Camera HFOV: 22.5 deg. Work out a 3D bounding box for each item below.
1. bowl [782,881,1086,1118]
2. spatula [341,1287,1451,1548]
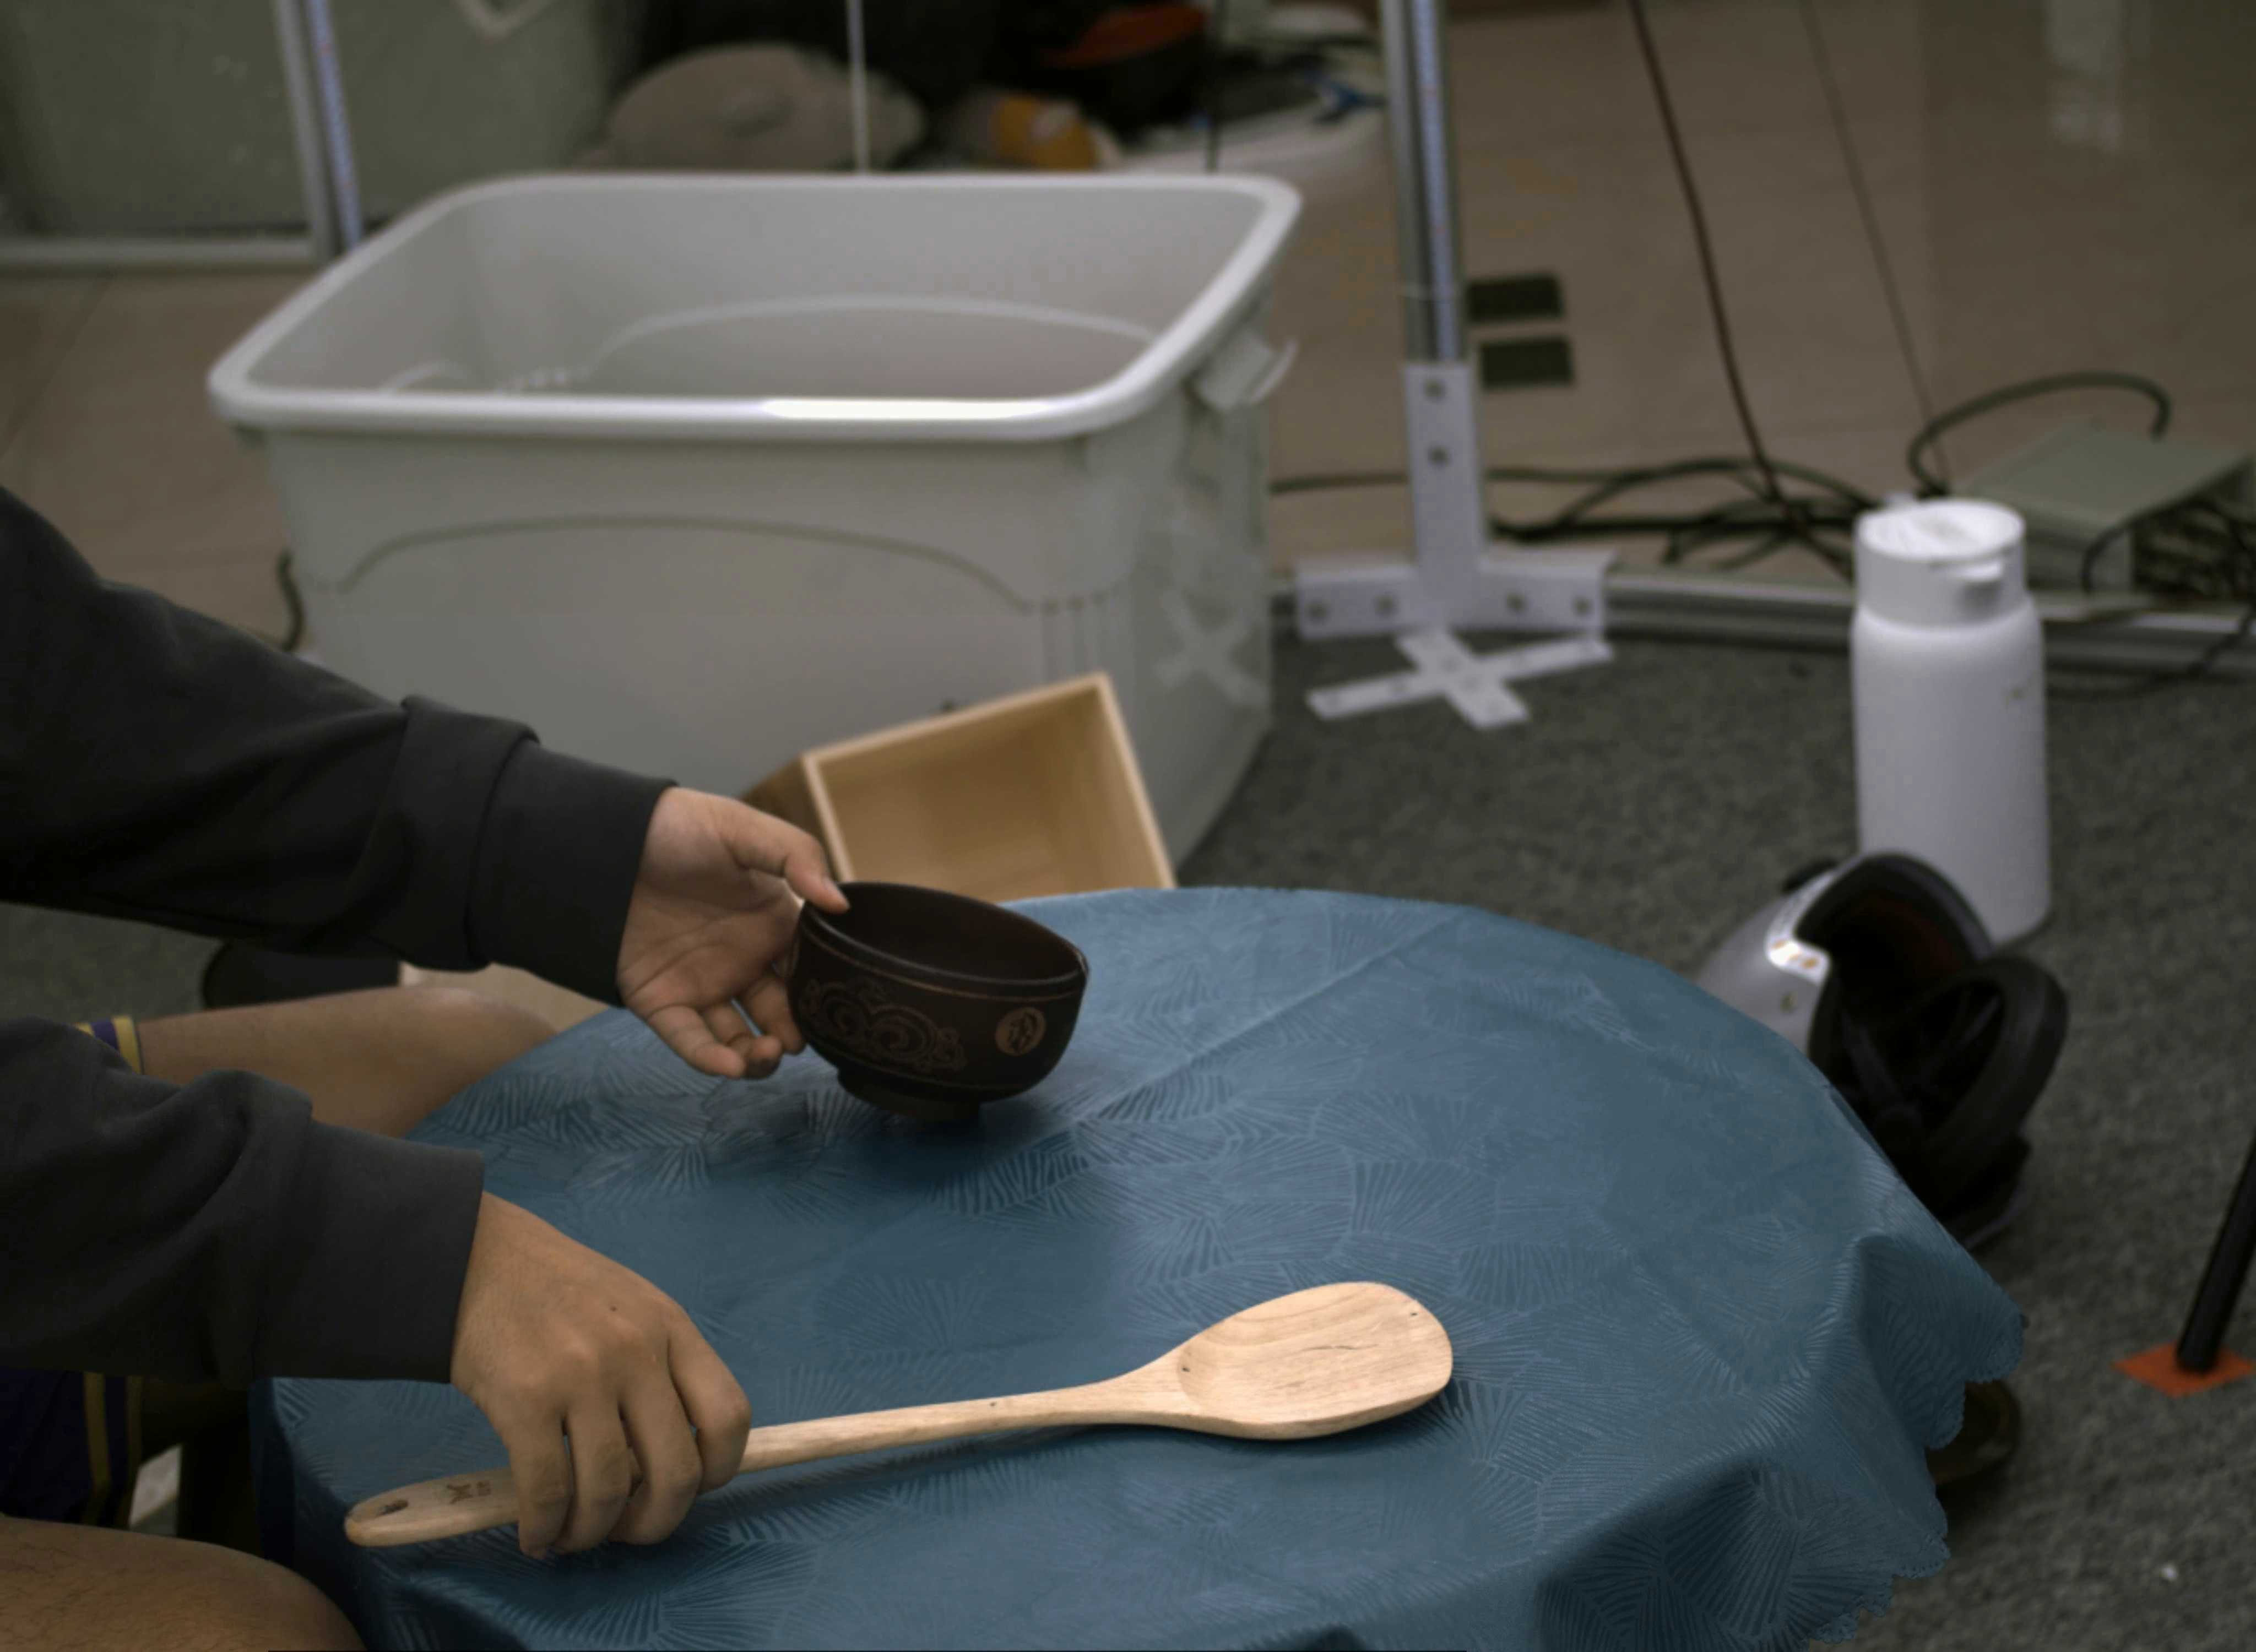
[{"bbox_3d":[-0.079,0.072,2.207,0.118,0.070,0.117,11,14,-3],"label":"bowl"},{"bbox_3d":[-0.079,0.213,1.977,0.390,0.019,0.094,-8,23,-8],"label":"spatula"}]
